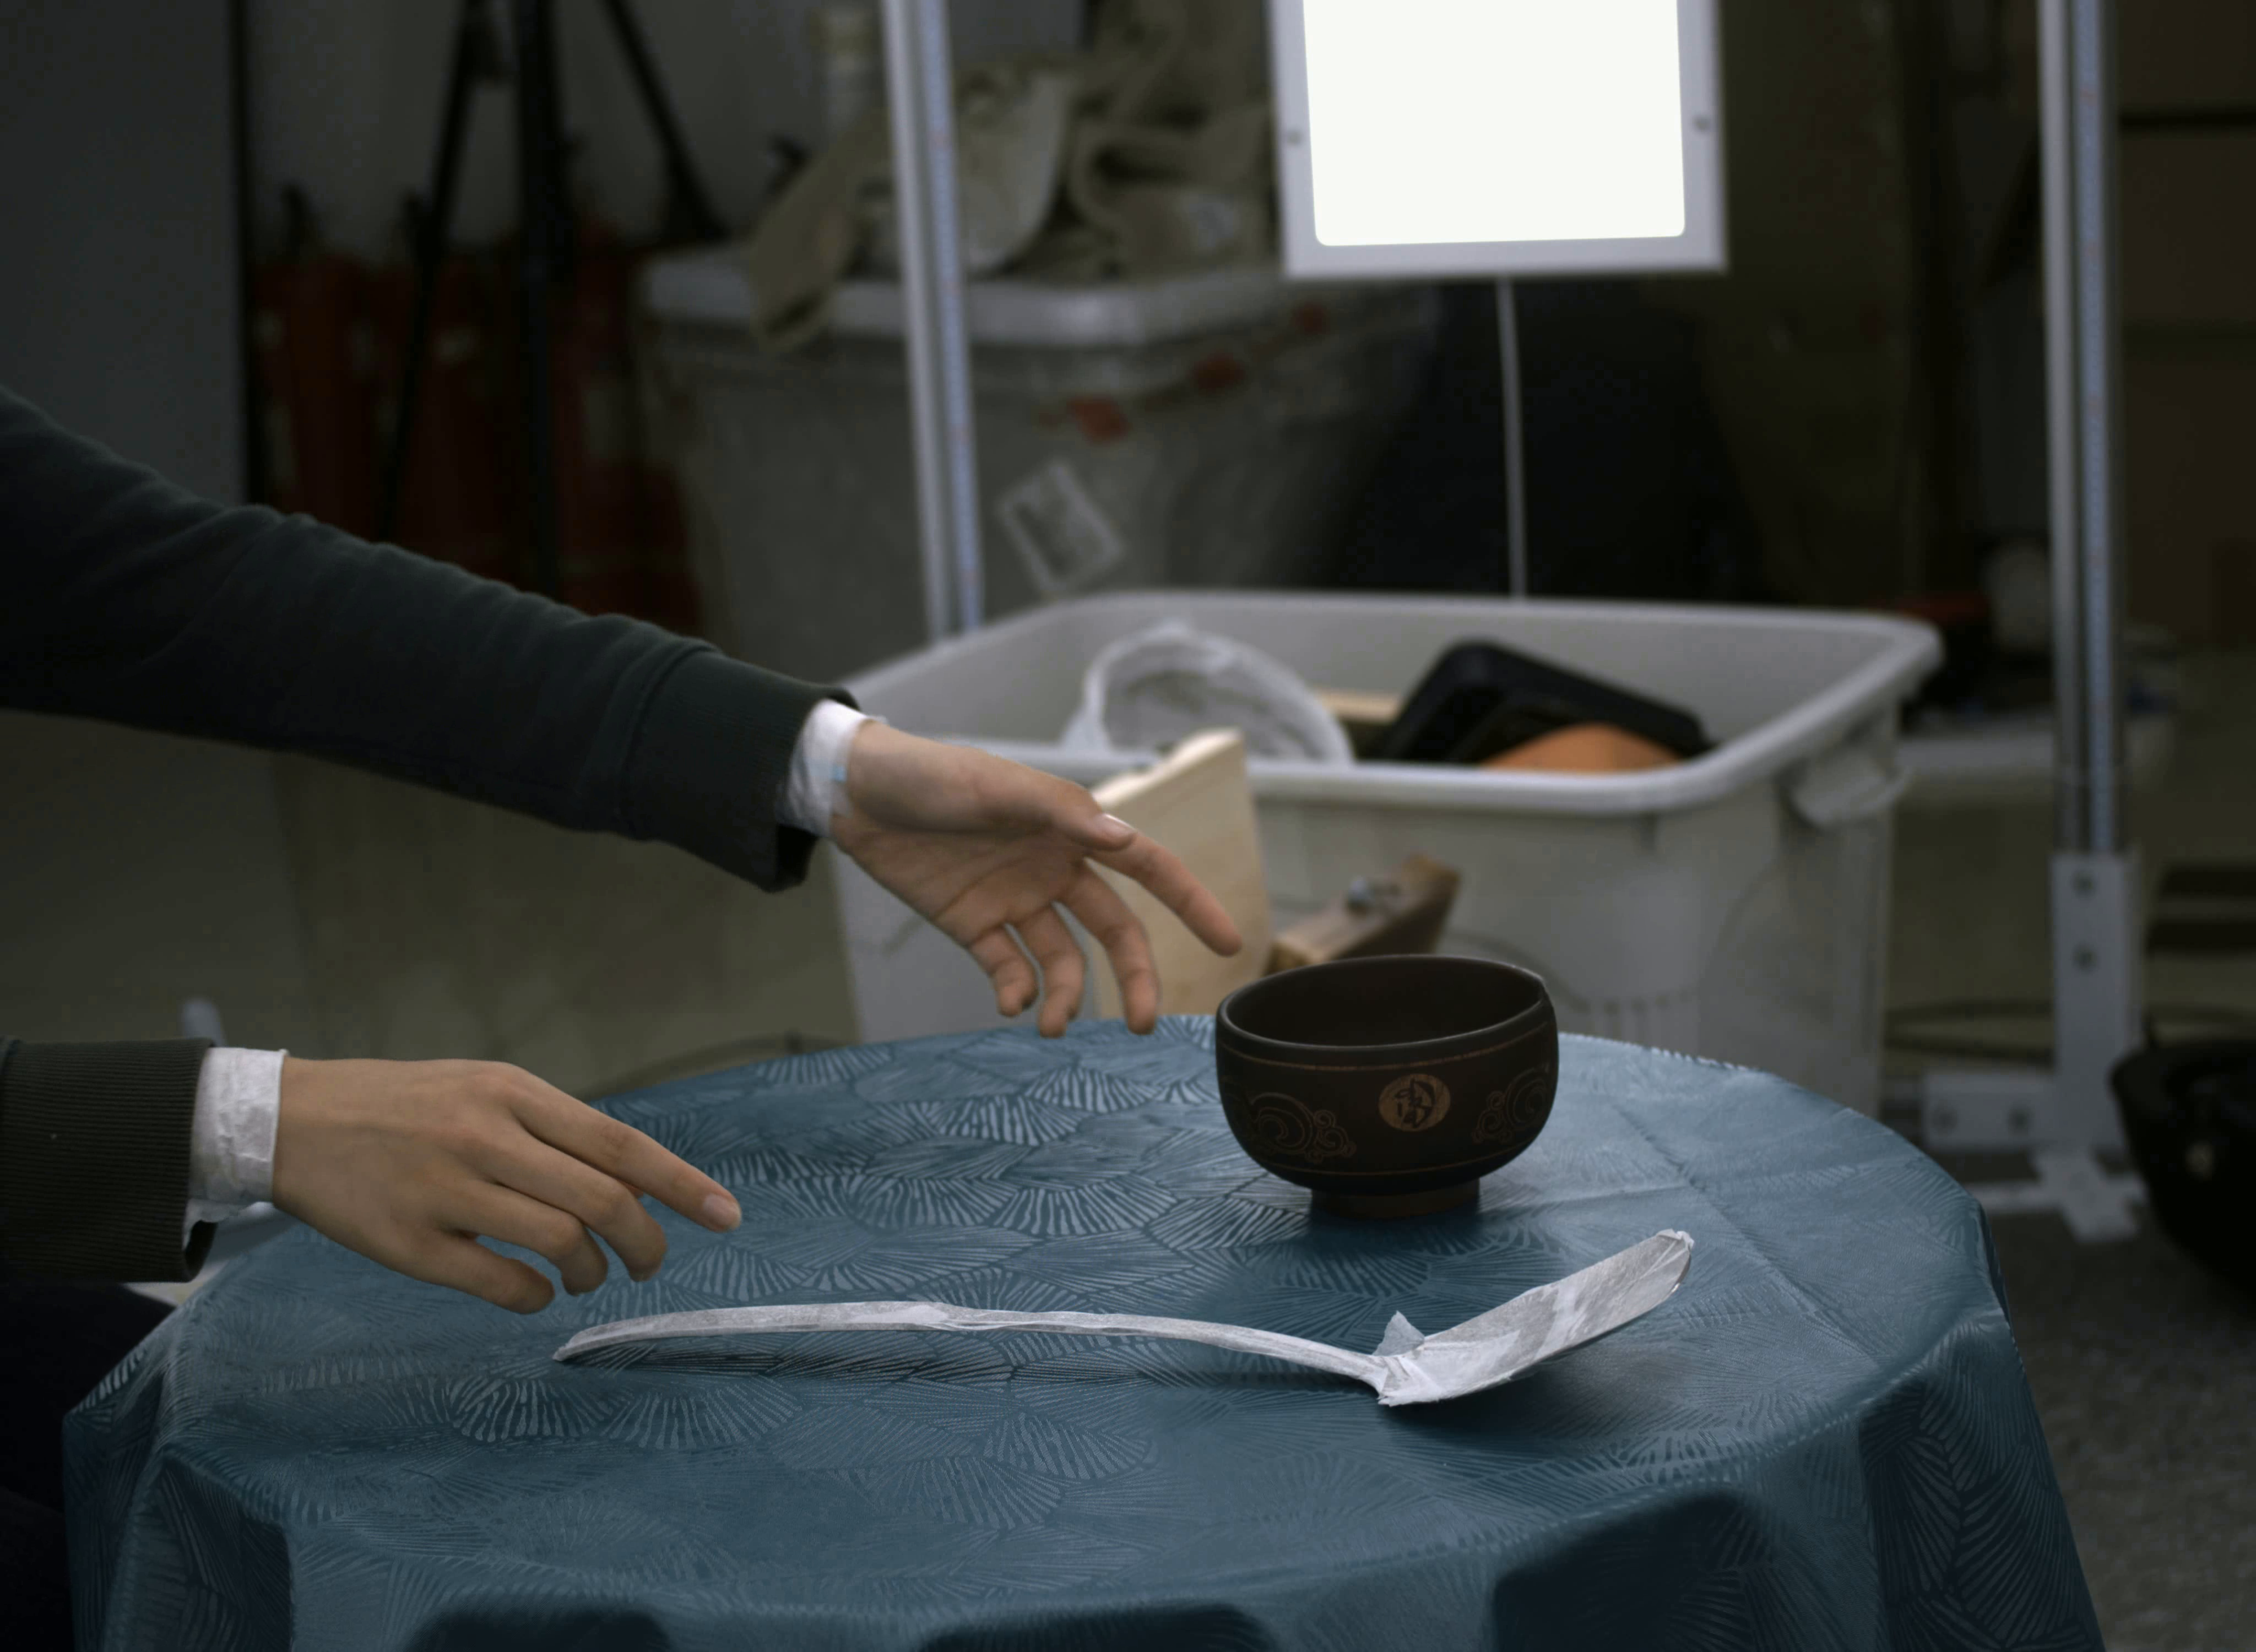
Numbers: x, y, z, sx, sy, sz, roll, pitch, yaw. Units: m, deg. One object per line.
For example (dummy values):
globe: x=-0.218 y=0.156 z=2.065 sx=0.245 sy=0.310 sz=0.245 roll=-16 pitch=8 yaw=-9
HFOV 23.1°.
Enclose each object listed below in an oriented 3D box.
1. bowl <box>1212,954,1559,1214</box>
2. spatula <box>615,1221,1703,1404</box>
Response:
bowl: x=0.088 y=0.090 z=1.863 sx=0.118 sy=0.070 sz=0.118 roll=-5 pitch=12 yaw=0
spatula: x=0.000 y=0.151 z=1.717 sx=0.370 sy=0.045 sz=0.097 roll=1 pitch=17 yaw=21
